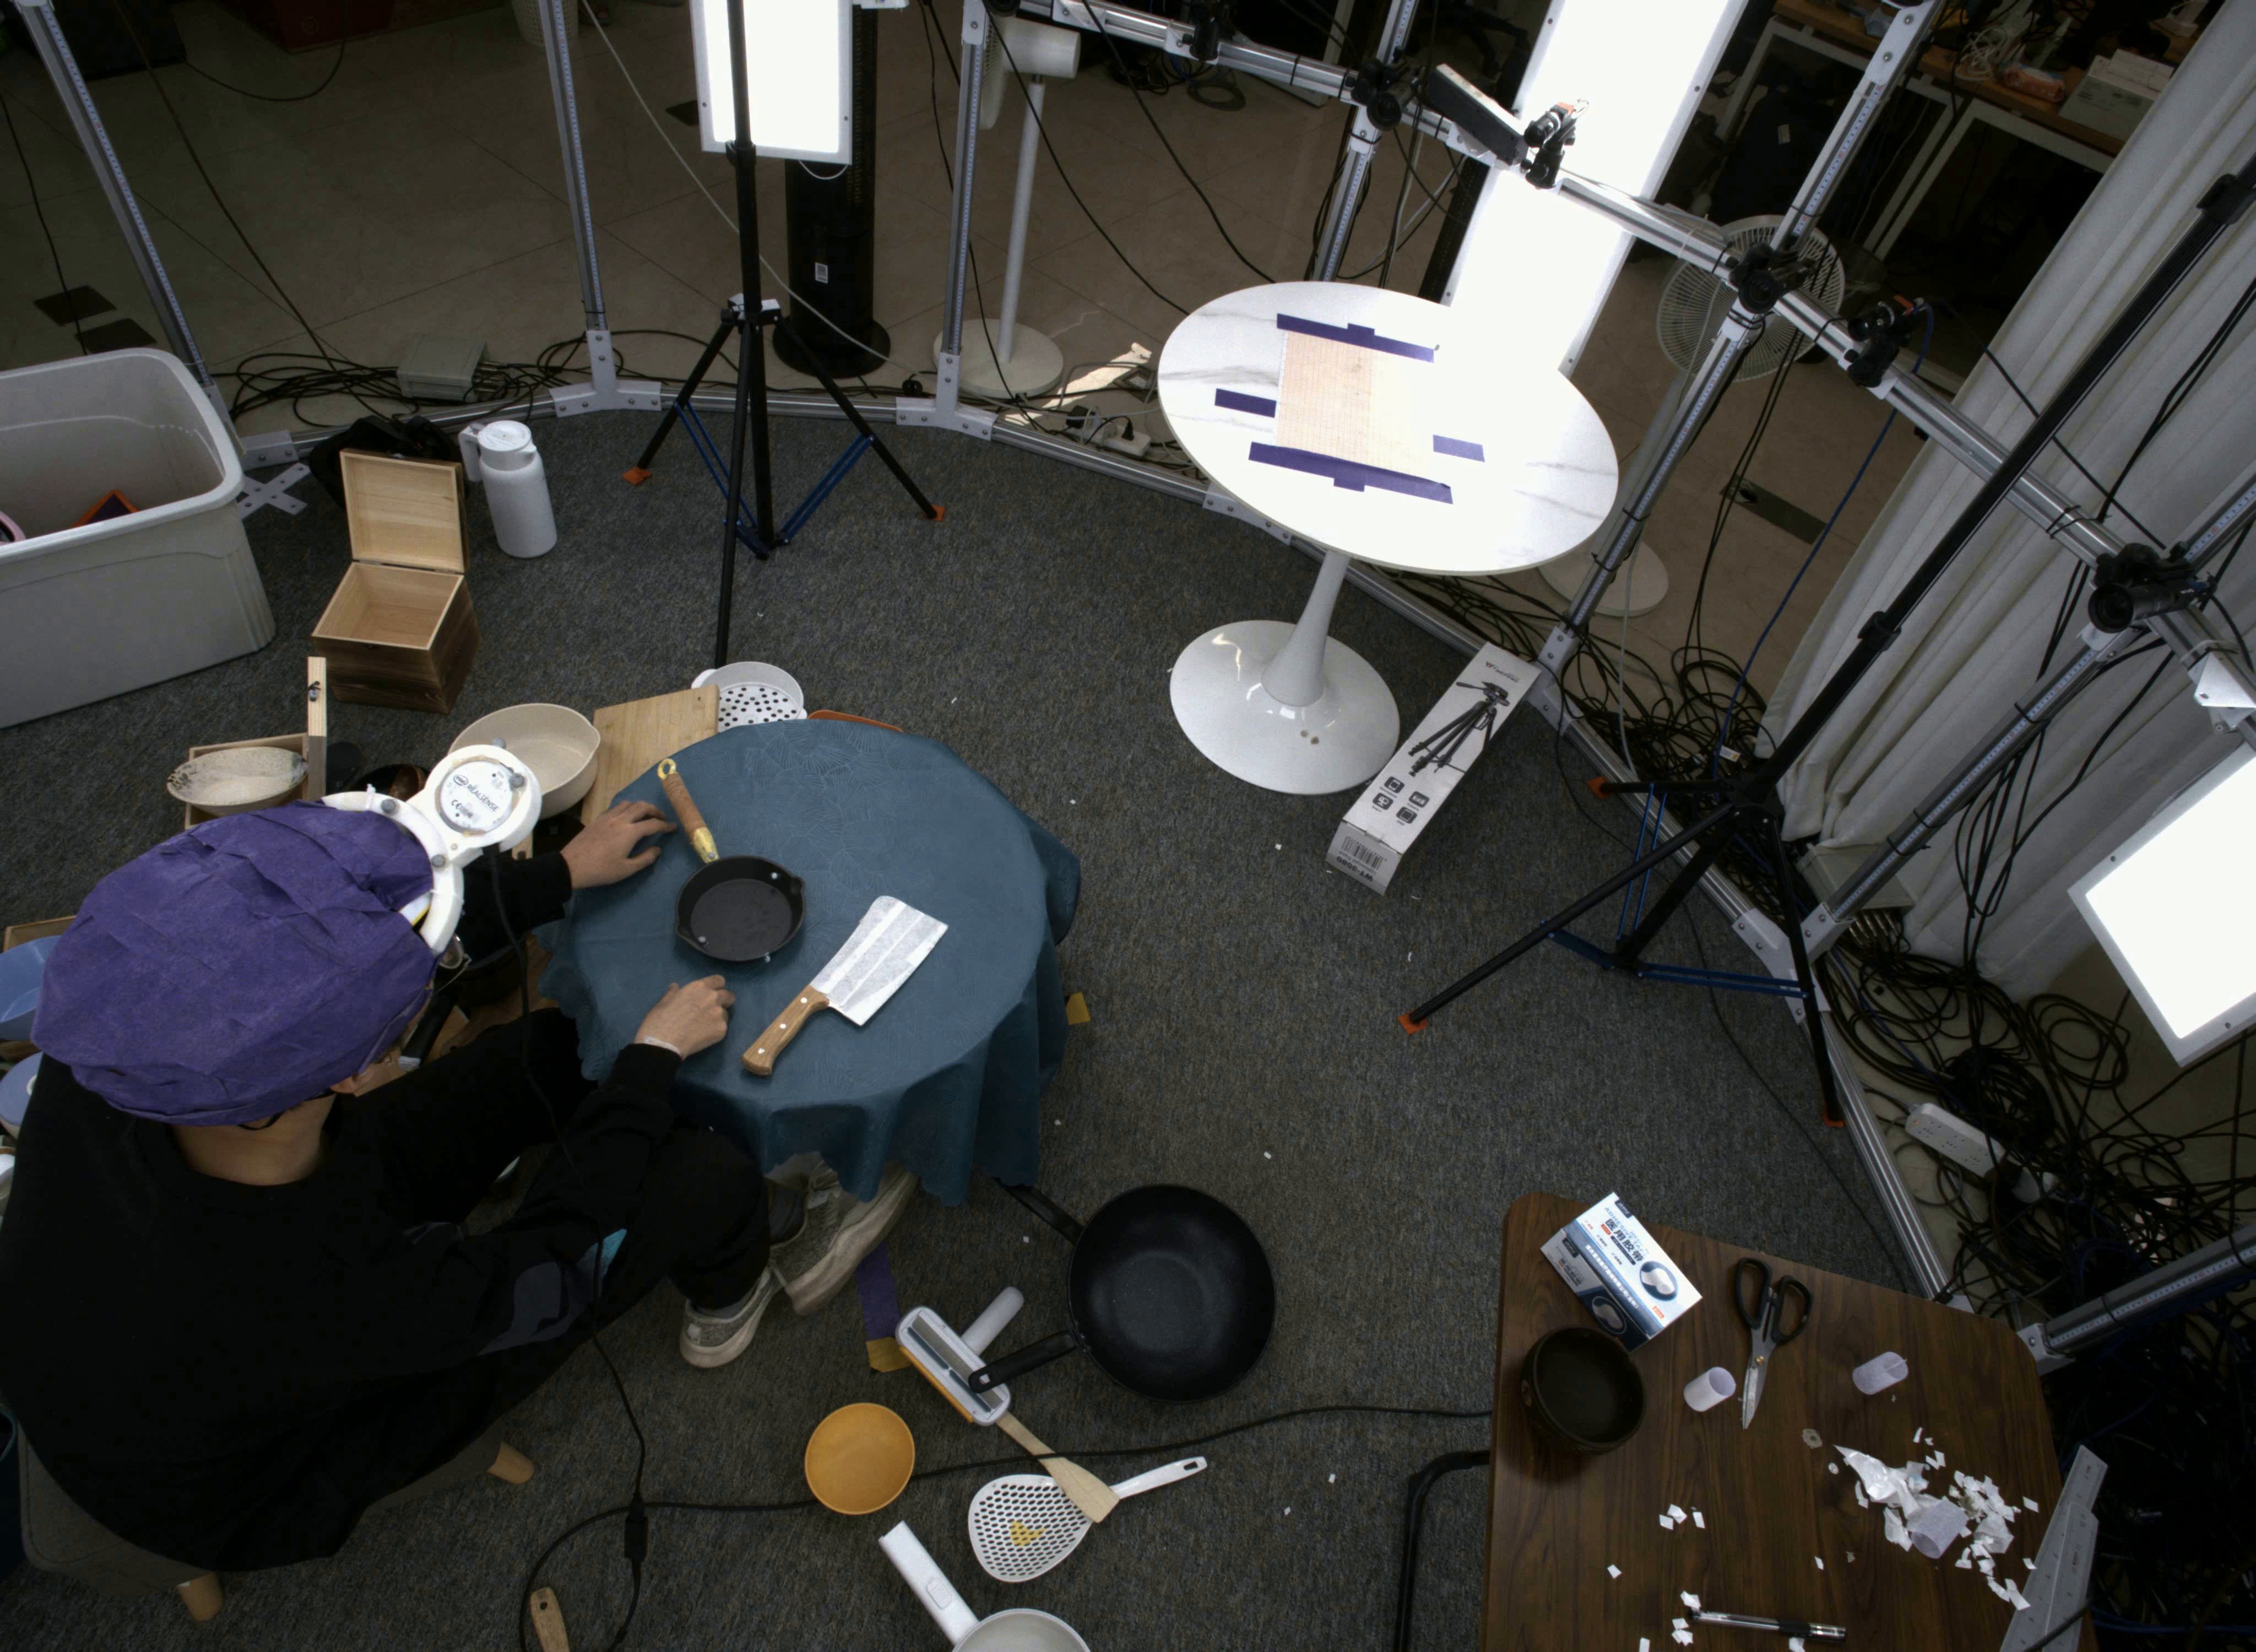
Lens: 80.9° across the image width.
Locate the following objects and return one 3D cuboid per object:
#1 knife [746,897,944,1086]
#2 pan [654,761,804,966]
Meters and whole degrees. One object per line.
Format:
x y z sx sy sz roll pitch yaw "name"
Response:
-0.347 0.195 1.576 0.112 0.022 0.315 33 50 10 "knife"
-0.524 0.043 1.622 0.170 0.050 0.316 -24 64 -28 "pan"
